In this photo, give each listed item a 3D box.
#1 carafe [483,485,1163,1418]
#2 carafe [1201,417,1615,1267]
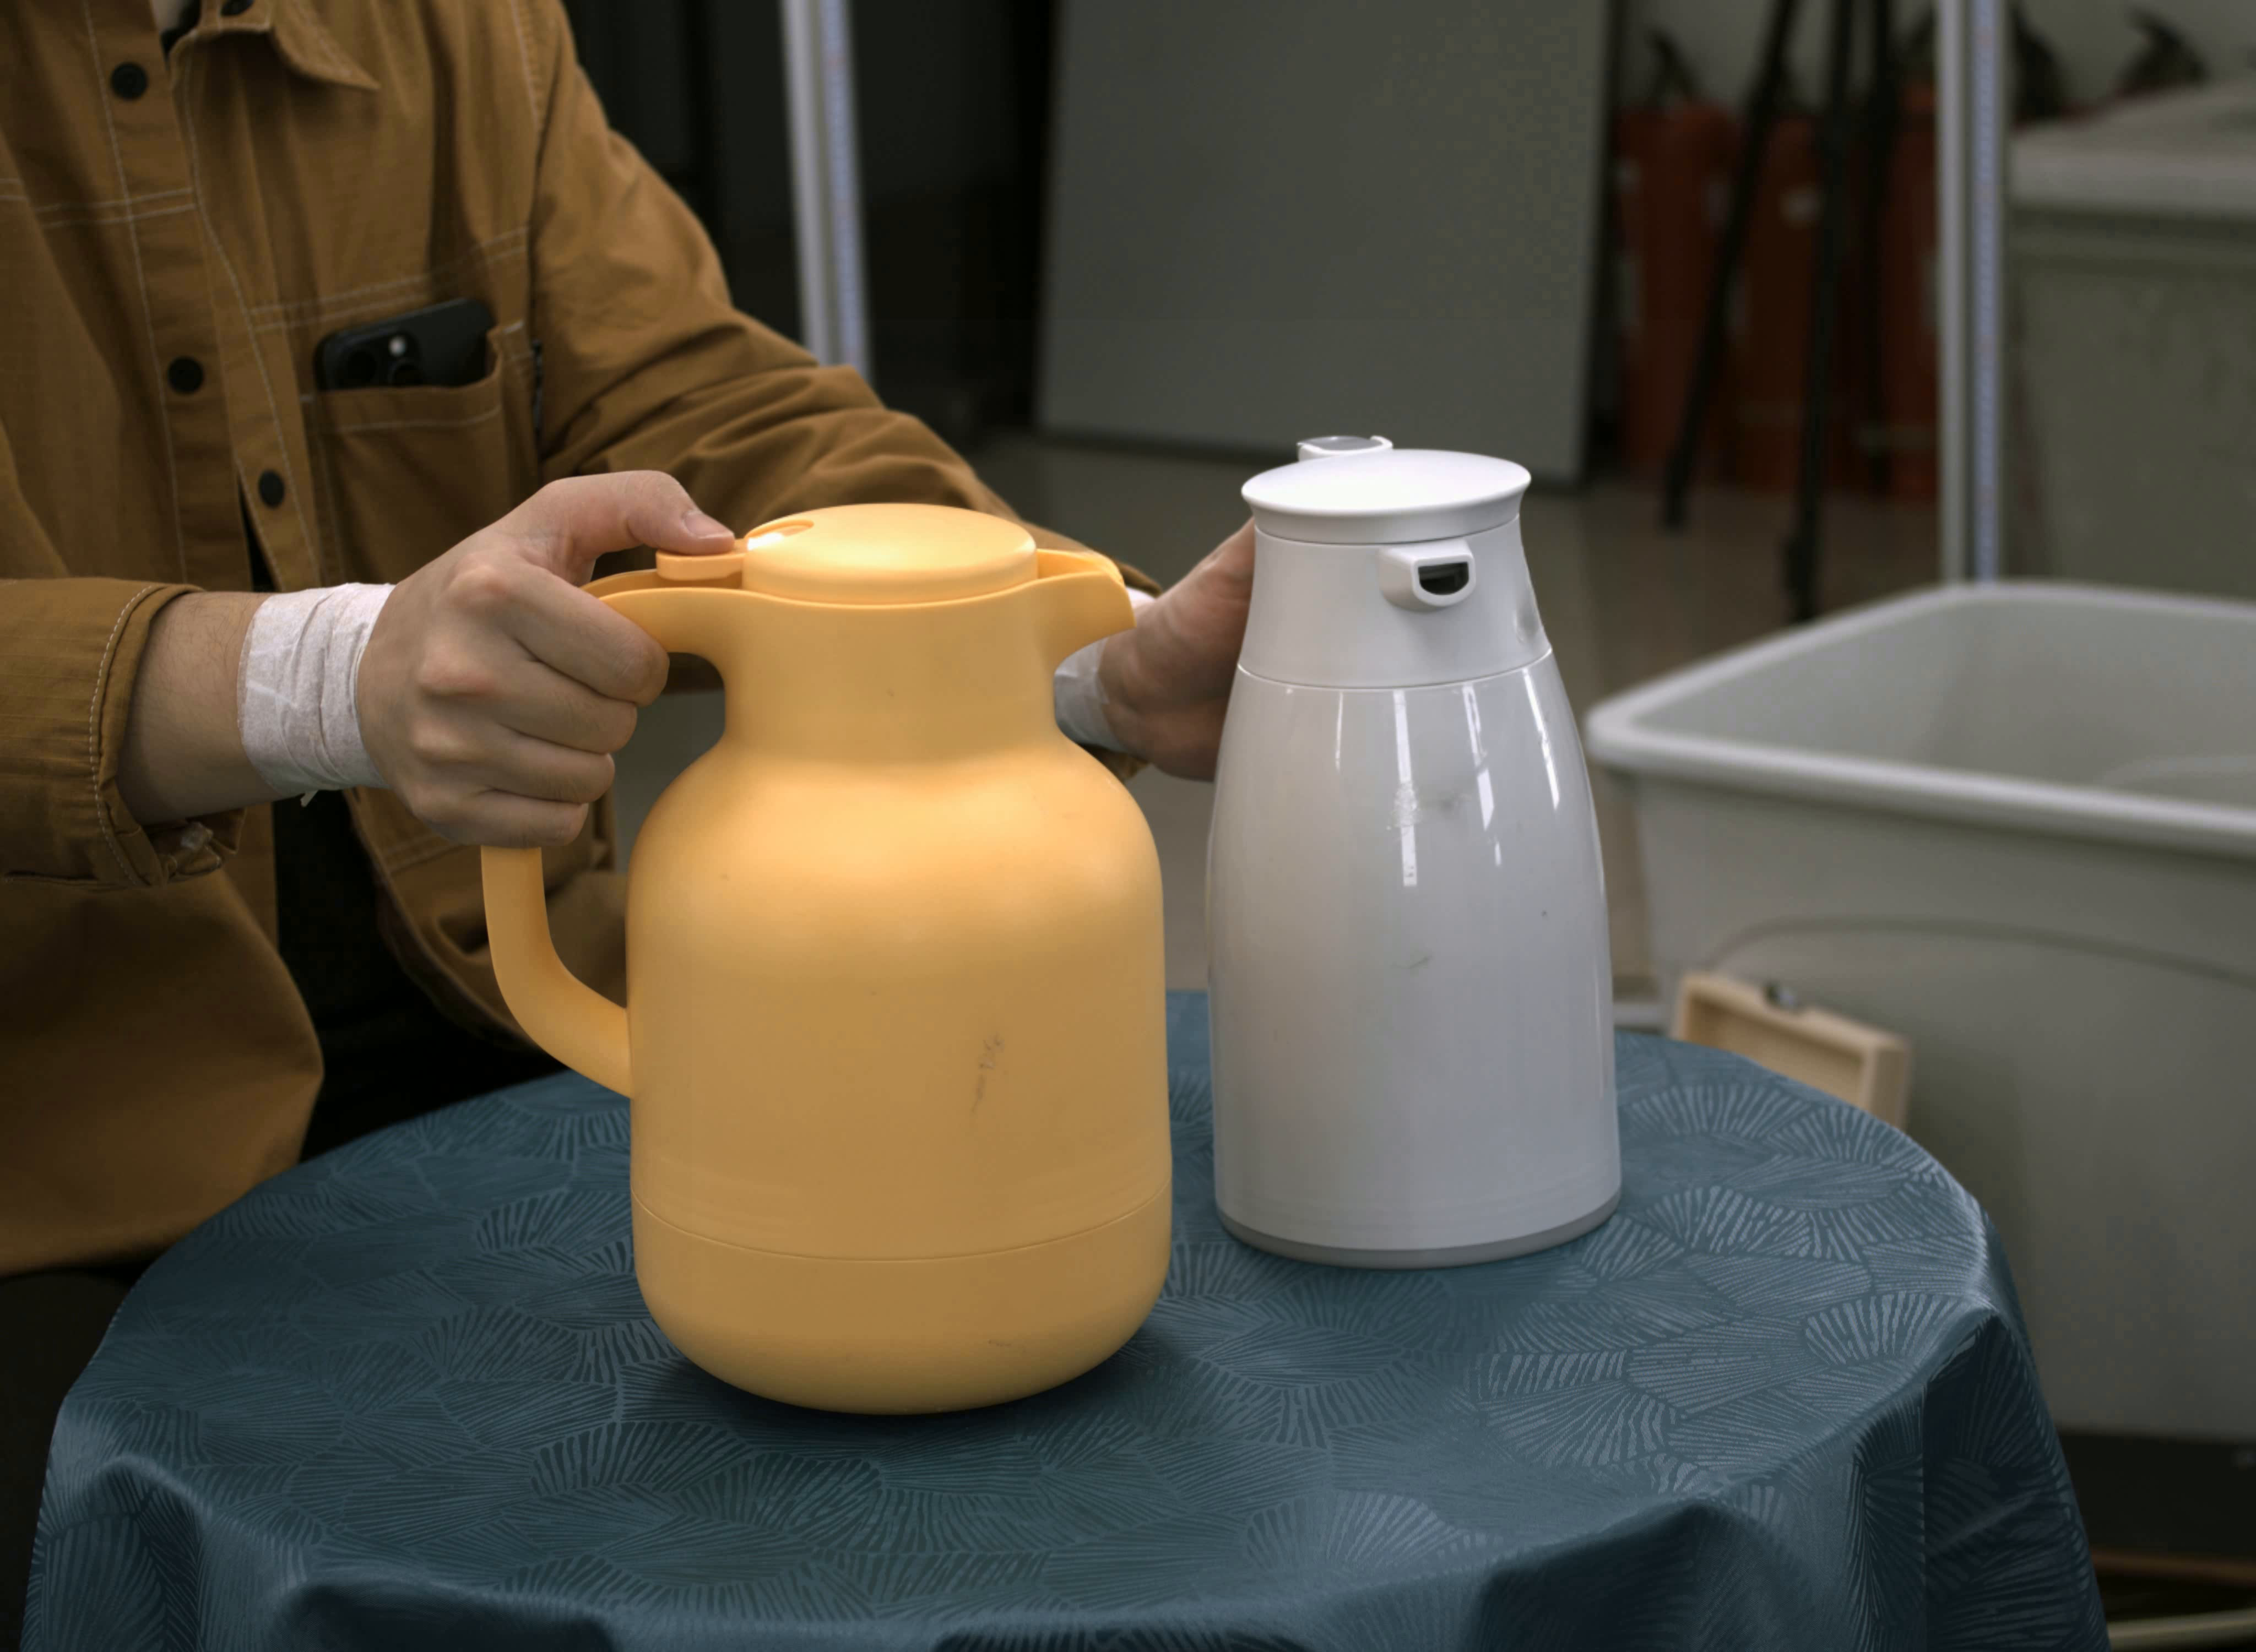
[{"bbox_3d":[-0.089,0.033,1.597,0.199,0.263,0.164,0,13,-1],"label":"carafe"},{"bbox_3d":[0.080,-0.003,1.729,0.130,0.251,0.169,-7,13,-12],"label":"carafe"}]
